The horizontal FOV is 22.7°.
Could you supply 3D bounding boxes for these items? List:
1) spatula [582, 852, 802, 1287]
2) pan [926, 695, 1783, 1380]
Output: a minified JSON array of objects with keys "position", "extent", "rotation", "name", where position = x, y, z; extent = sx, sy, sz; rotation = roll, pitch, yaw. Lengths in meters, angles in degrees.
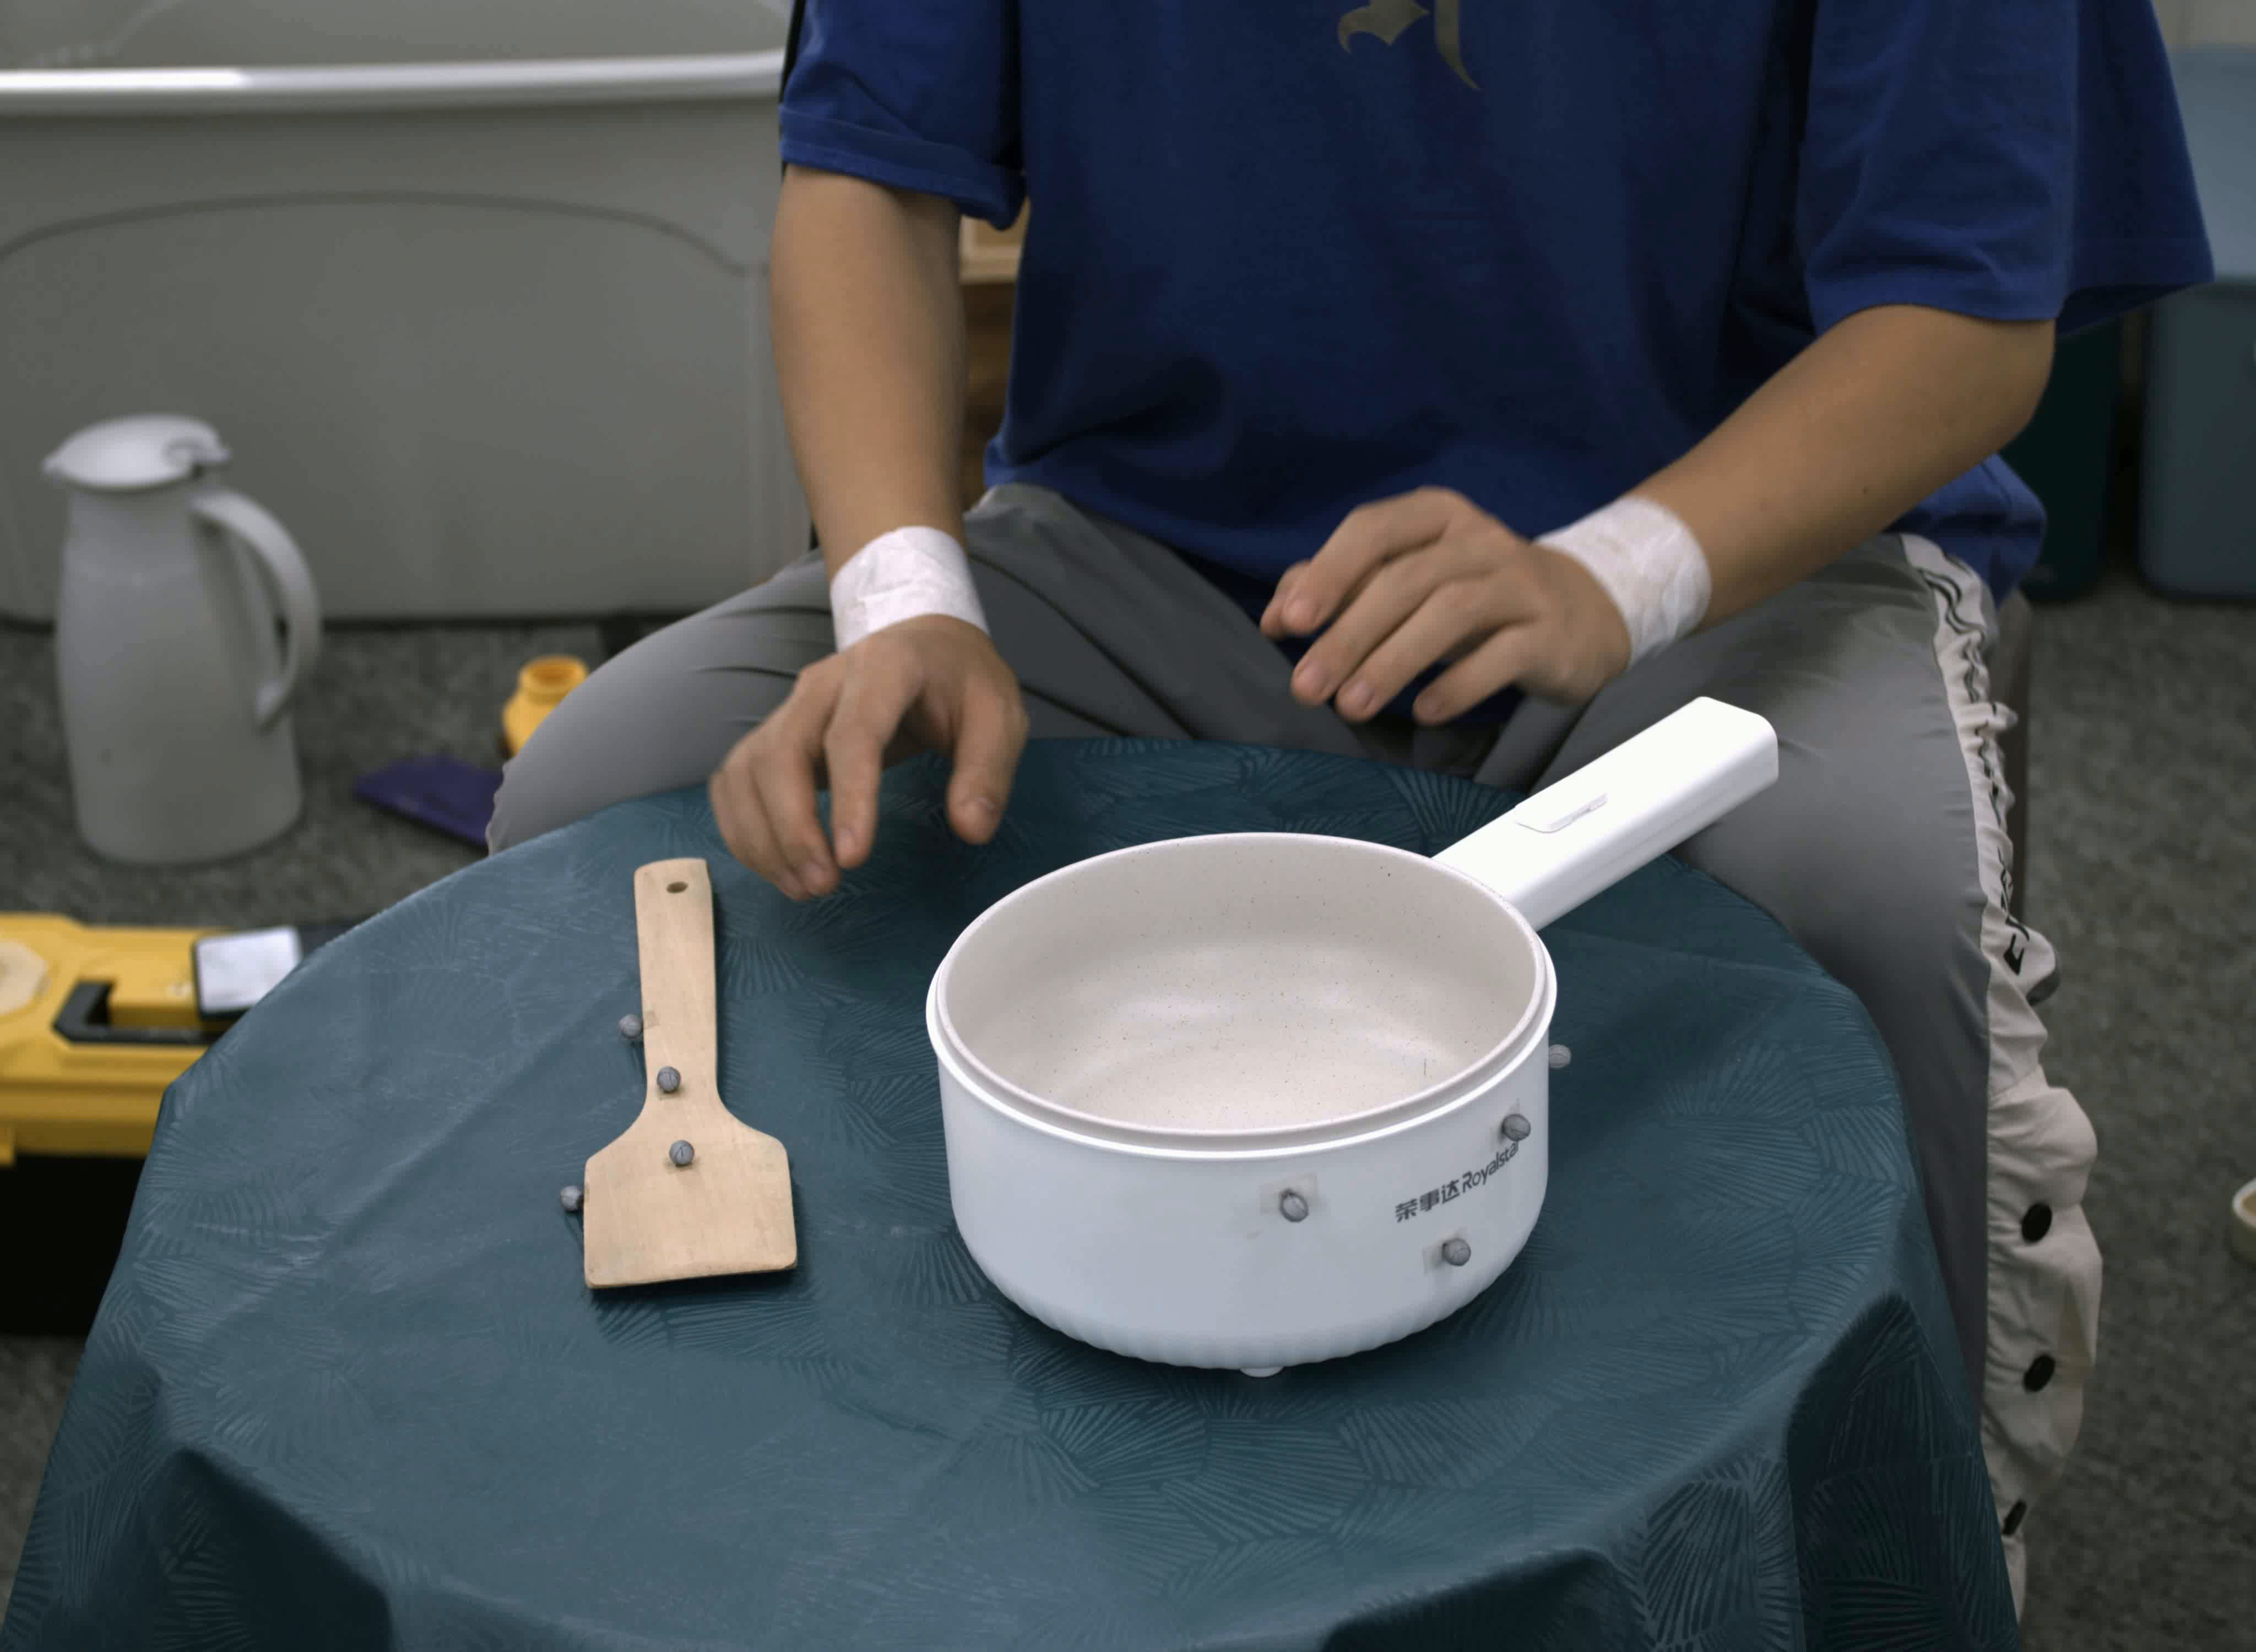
[{"position":[-0.154,0.081,1.945],"extent":[0.072,0.010,0.297],"rotation":[-6,28,-3],"name":"spatula"},{"position":[0.091,0.065,1.858],"extent":[0.200,0.101,0.359],"rotation":[19,34,40],"name":"pan"}]
